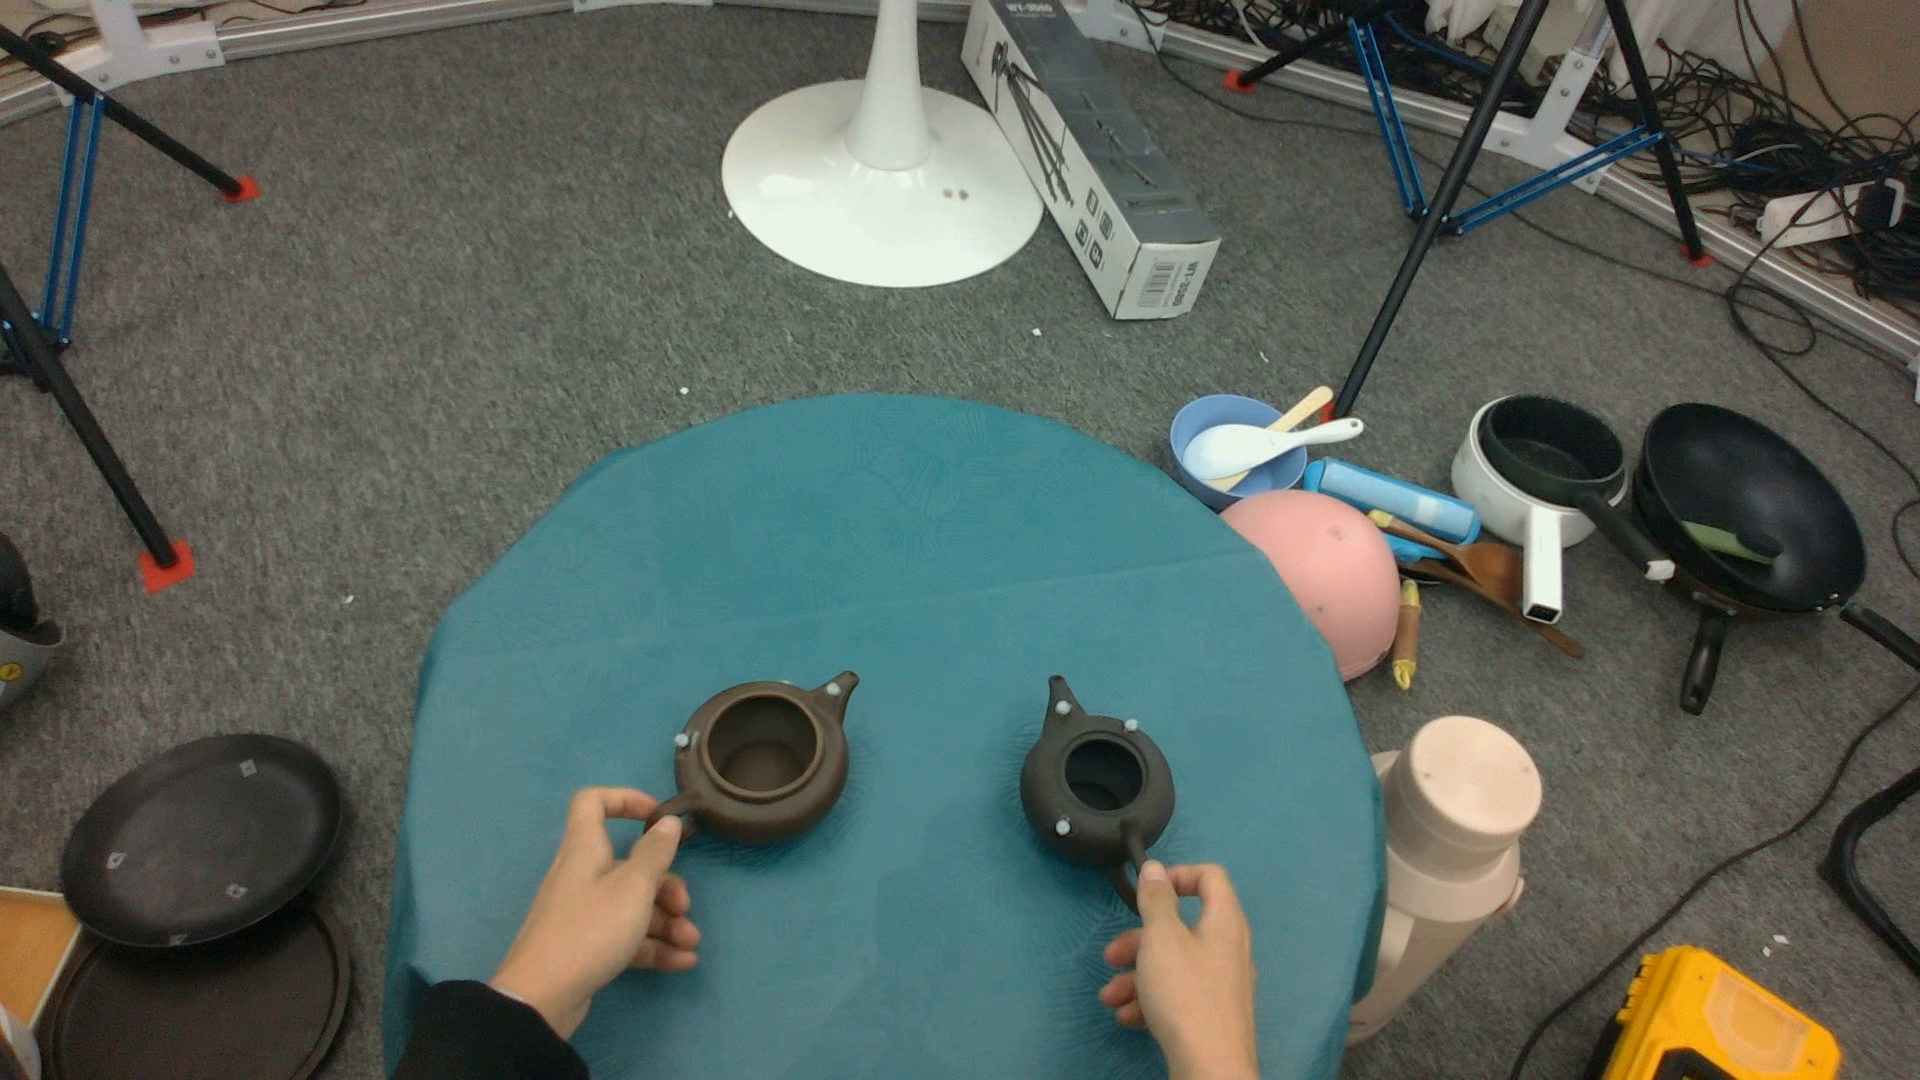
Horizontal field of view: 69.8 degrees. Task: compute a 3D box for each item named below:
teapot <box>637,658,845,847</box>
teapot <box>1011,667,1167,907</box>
[{"bbox_3d":[-0.126,0.127,0.810,0.102,0.053,0.154,36,54,21],"label":"teapot"},{"bbox_3d":[0.077,0.148,0.821,0.092,0.064,0.154,-13,54,-16],"label":"teapot"}]
